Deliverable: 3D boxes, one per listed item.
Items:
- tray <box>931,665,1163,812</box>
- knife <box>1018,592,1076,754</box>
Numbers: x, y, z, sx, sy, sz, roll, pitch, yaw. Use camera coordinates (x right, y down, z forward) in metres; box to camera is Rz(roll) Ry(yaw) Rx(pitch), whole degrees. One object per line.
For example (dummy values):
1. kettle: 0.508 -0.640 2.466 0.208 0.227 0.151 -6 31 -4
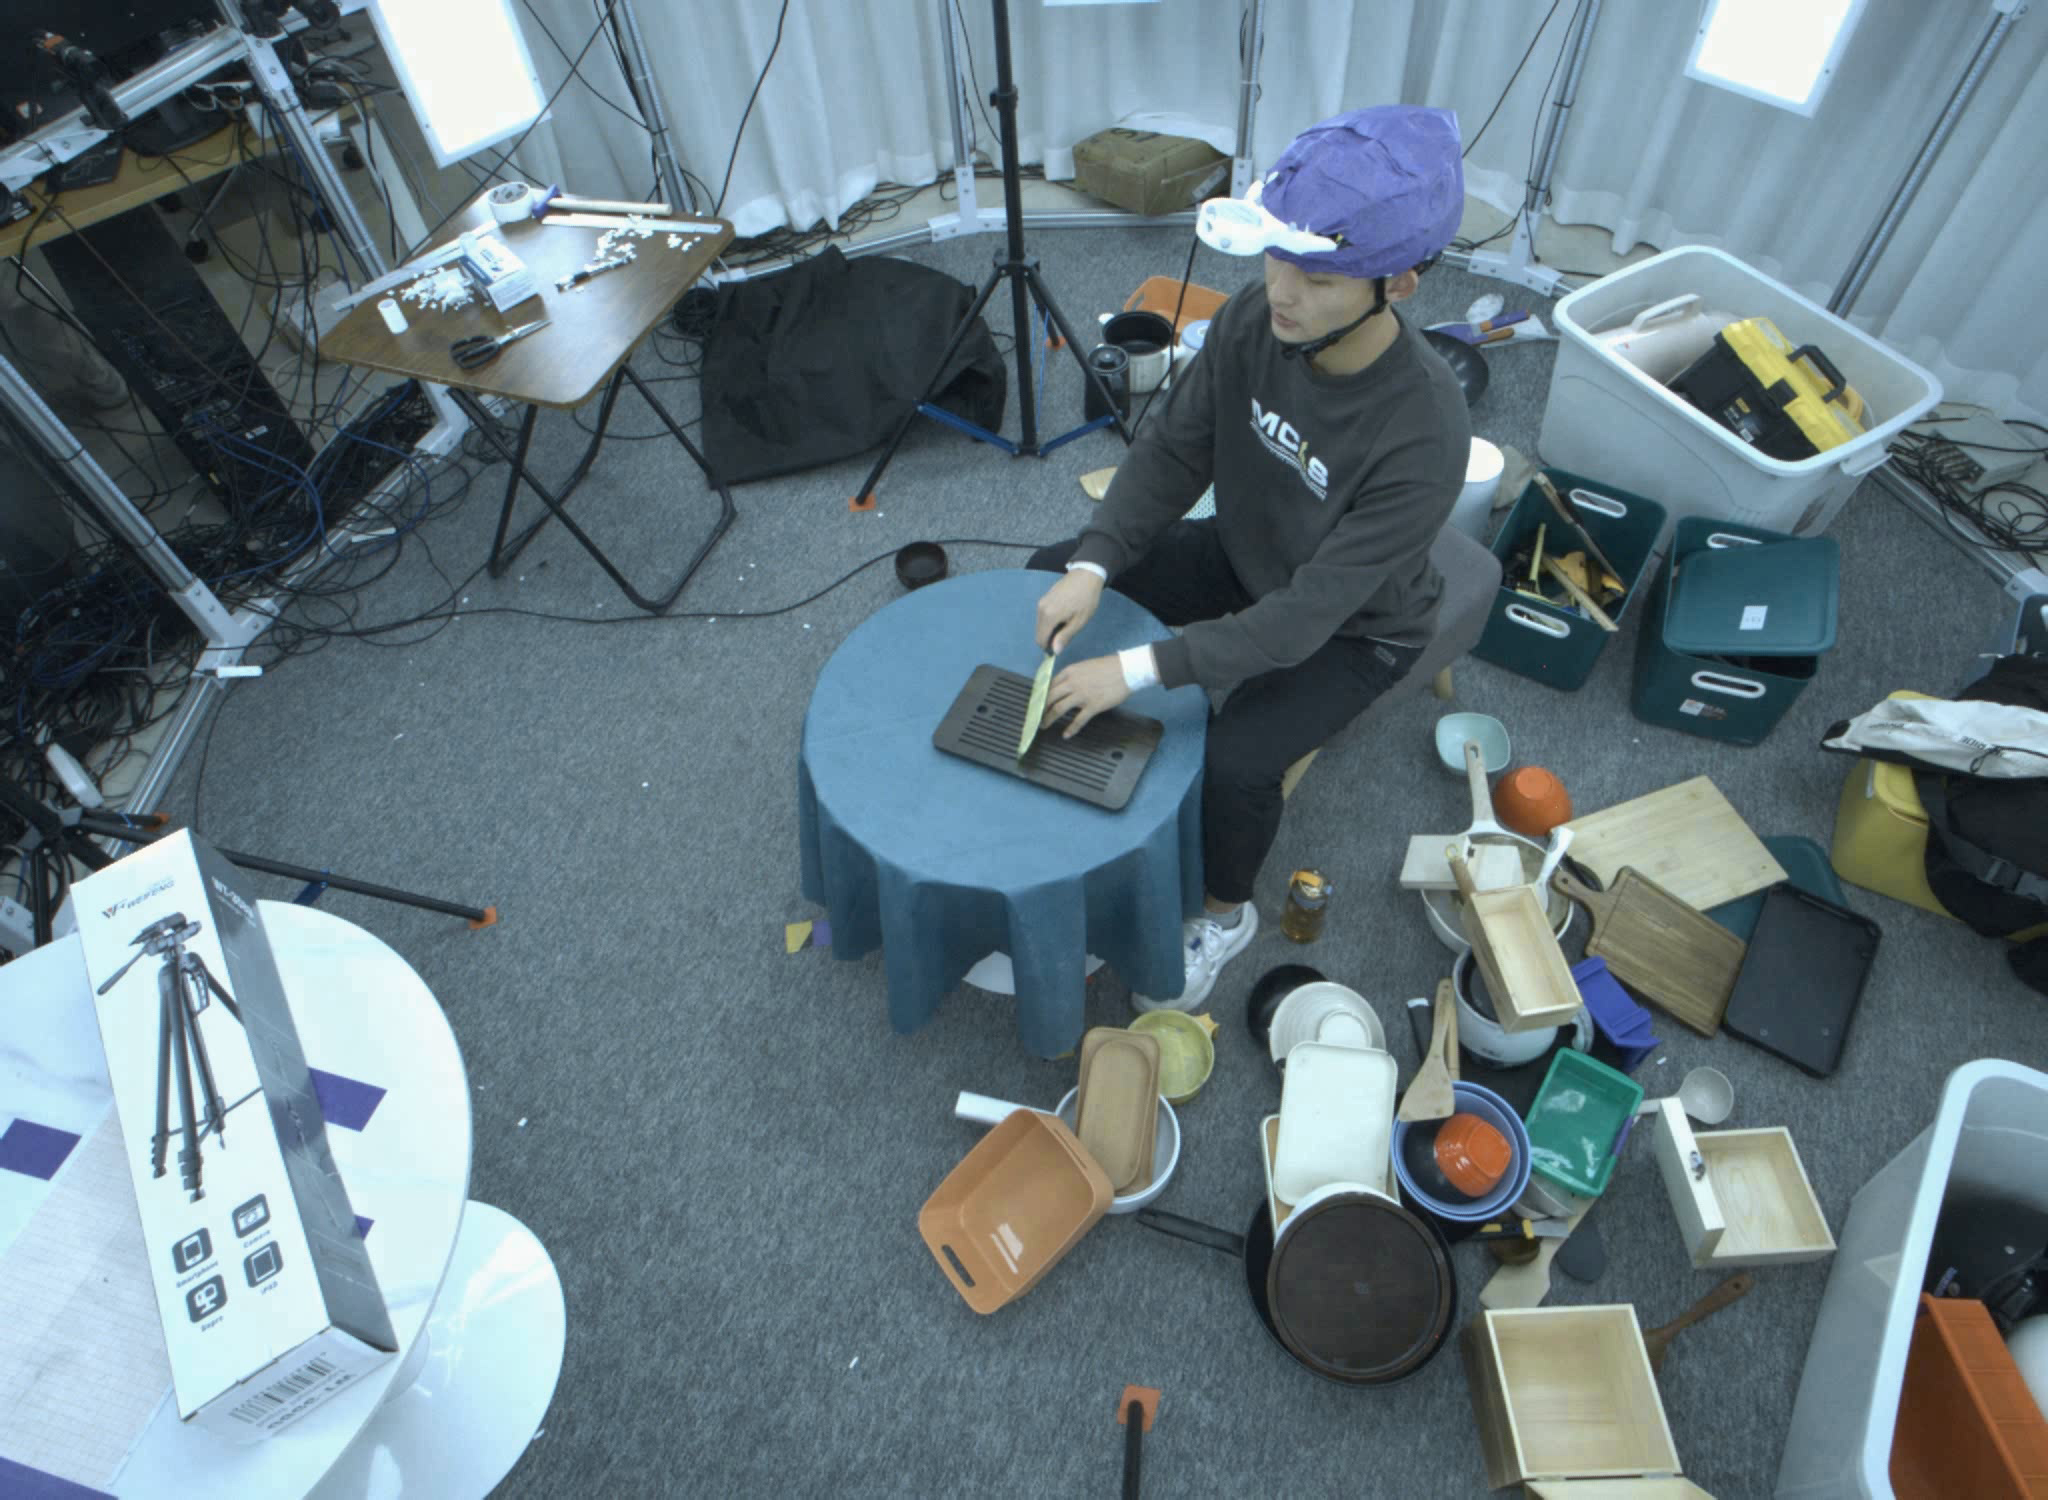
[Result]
1. tray: 0.033 -0.019 1.796 0.302 0.019 0.170 20 57 15
2. knife: 0.031 -0.115 1.811 0.027 0.080 0.288 26 59 -16
